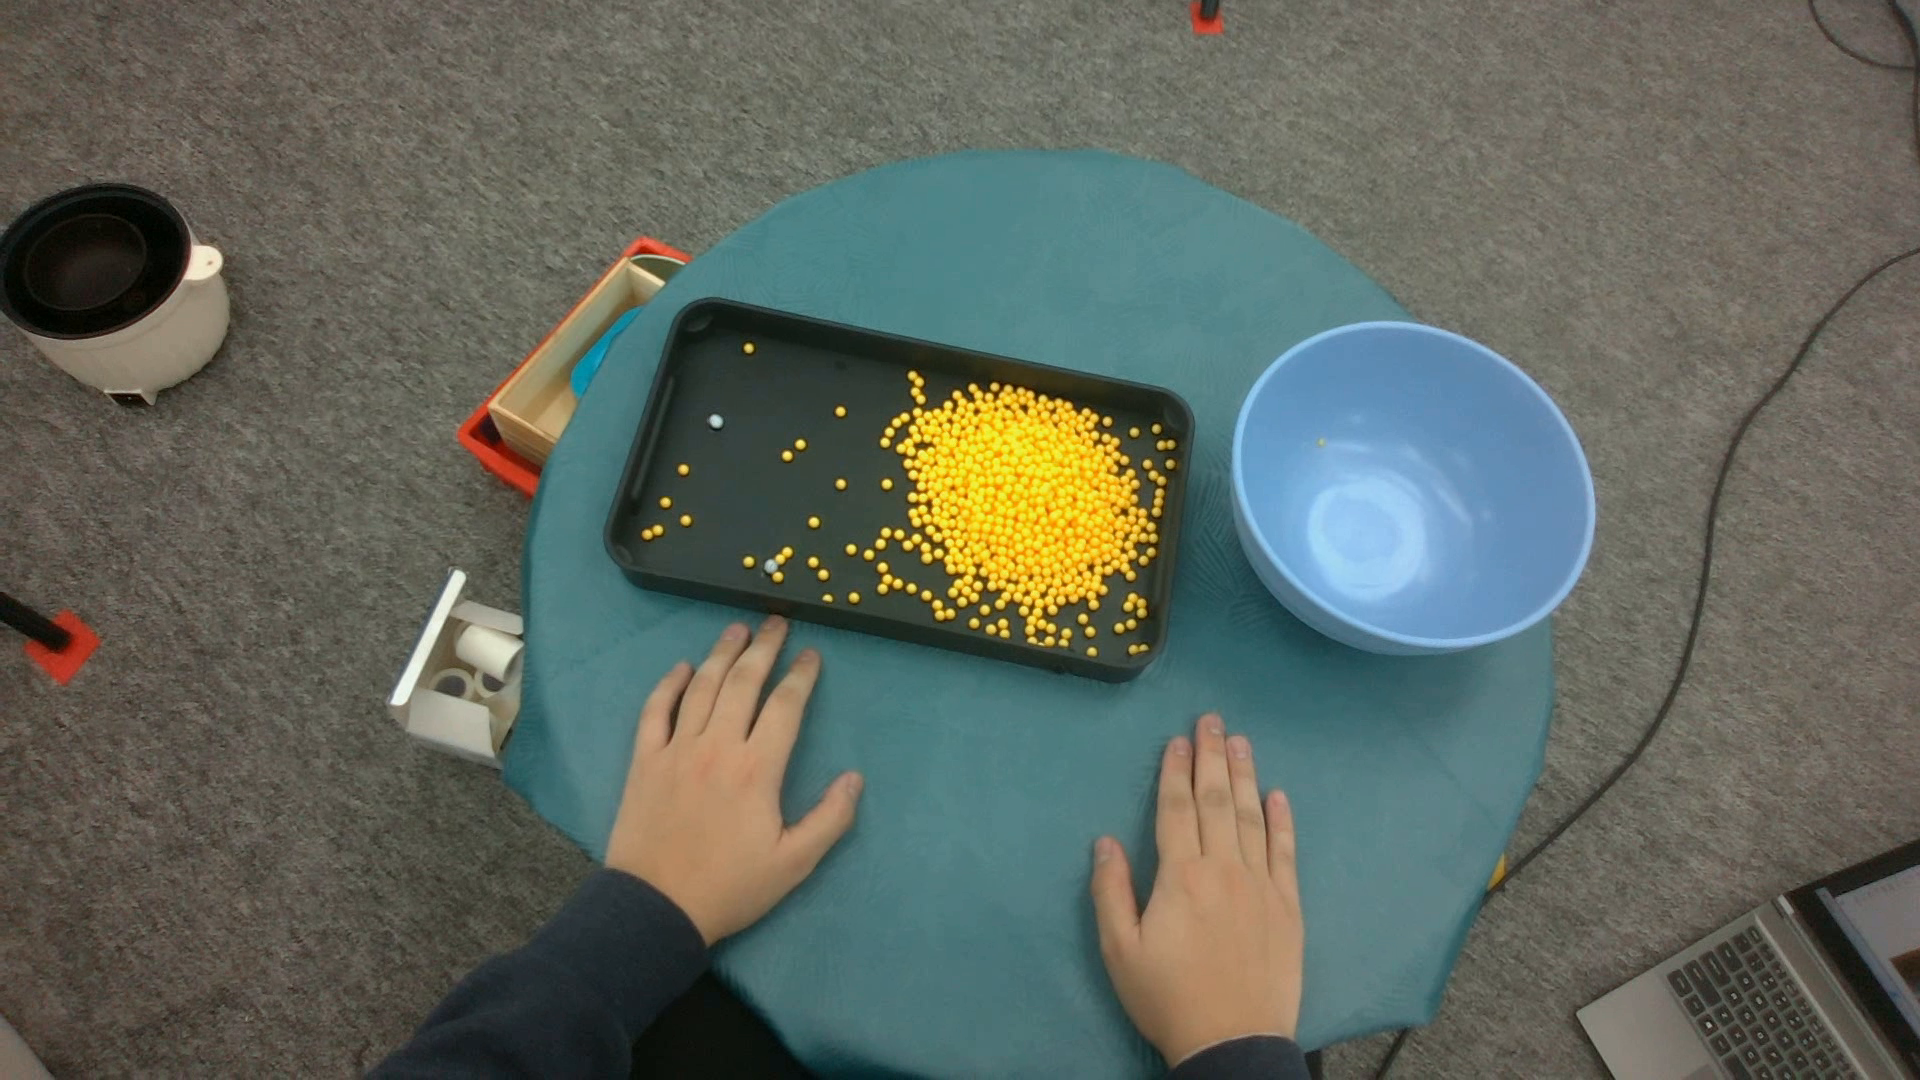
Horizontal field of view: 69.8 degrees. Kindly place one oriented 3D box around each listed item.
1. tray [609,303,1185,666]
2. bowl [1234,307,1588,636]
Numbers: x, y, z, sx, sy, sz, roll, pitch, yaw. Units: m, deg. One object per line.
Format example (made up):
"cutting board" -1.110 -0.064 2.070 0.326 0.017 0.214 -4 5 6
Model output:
"tray" -0.031 -0.034 0.817 0.318 0.037 0.185 9 66 0
"bowl" 0.245 -0.026 0.794 0.196 0.095 0.197 2 65 -4
